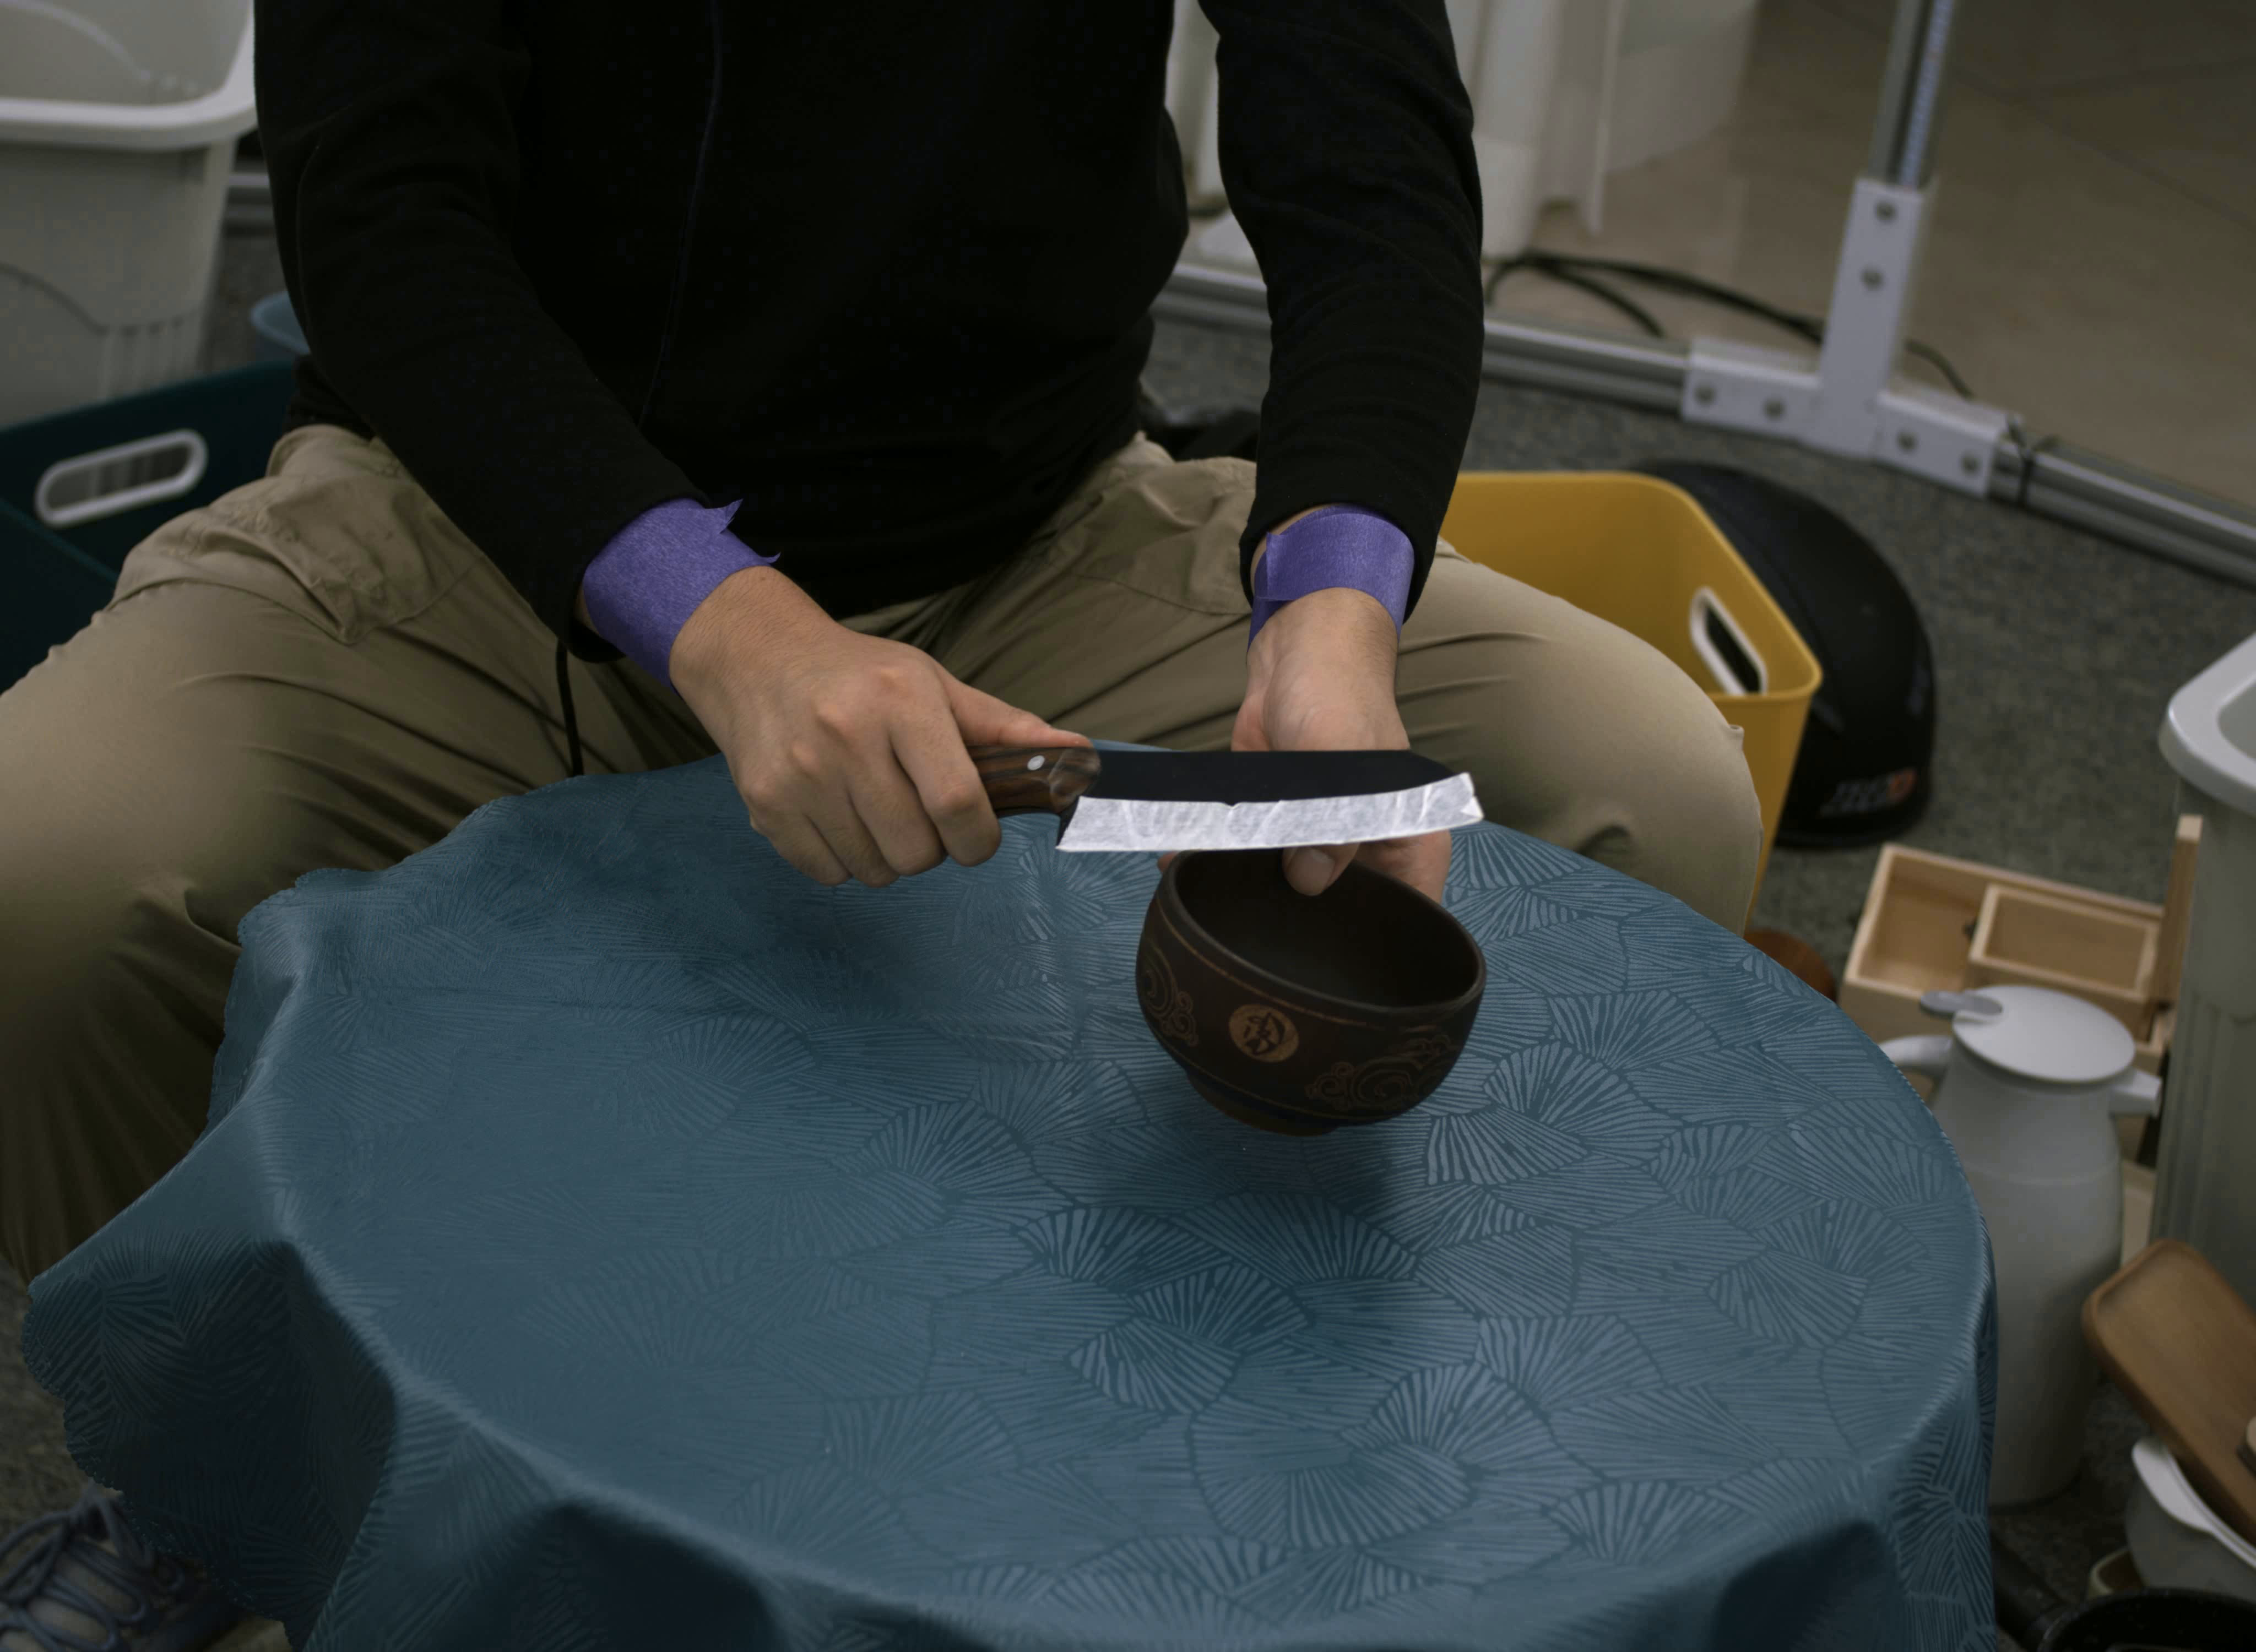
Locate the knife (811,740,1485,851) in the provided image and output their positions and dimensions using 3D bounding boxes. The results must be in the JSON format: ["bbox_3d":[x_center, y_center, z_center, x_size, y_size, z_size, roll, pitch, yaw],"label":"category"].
[{"bbox_3d":[0.003,-0.011,1.837,0.290,0.020,0.050,2,53,37],"label":"knife"}]

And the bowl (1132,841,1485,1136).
[{"bbox_3d":[0.056,0.061,1.804,0.117,0.070,0.118,14,24,-7],"label":"bowl"}]
